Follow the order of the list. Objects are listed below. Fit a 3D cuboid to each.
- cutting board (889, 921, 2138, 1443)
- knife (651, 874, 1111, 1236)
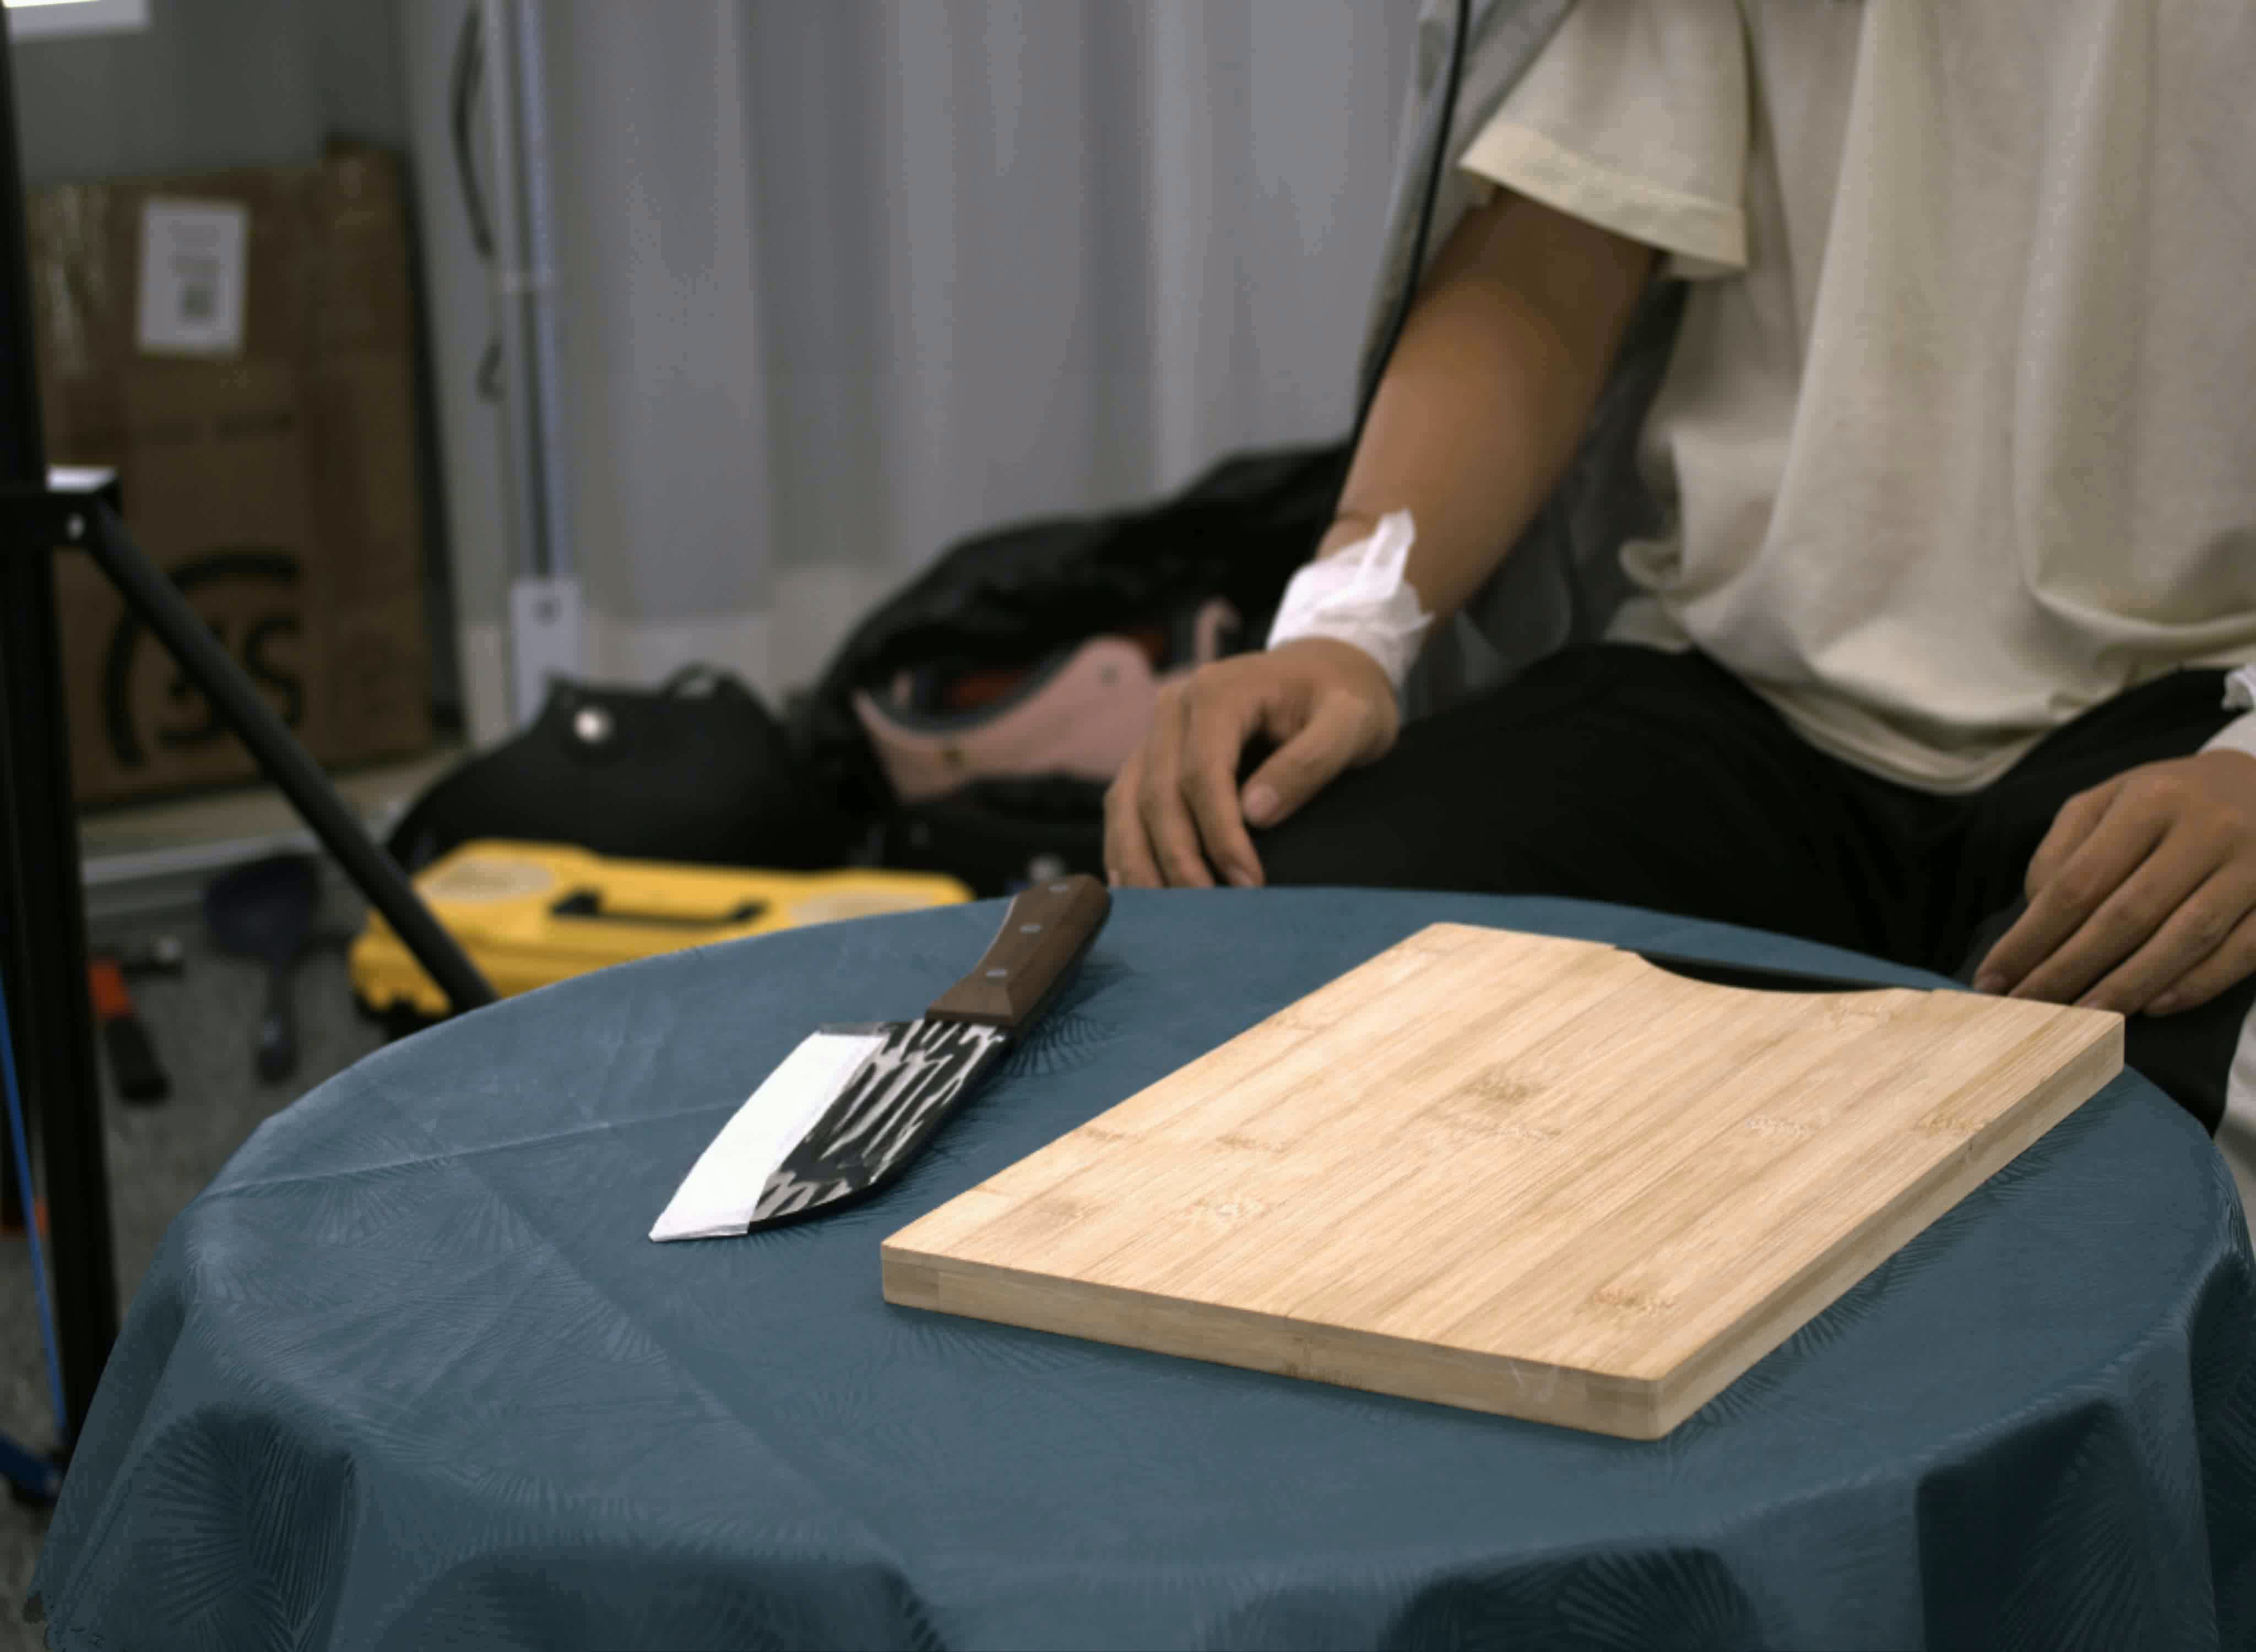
[{"bbox_3d":[0.122,0.095,1.553,0.255,0.023,0.342,7,18,30],"label":"cutting board"},{"bbox_3d":[-0.073,0.072,1.662,0.069,0.024,0.297,0,19,18],"label":"knife"}]
